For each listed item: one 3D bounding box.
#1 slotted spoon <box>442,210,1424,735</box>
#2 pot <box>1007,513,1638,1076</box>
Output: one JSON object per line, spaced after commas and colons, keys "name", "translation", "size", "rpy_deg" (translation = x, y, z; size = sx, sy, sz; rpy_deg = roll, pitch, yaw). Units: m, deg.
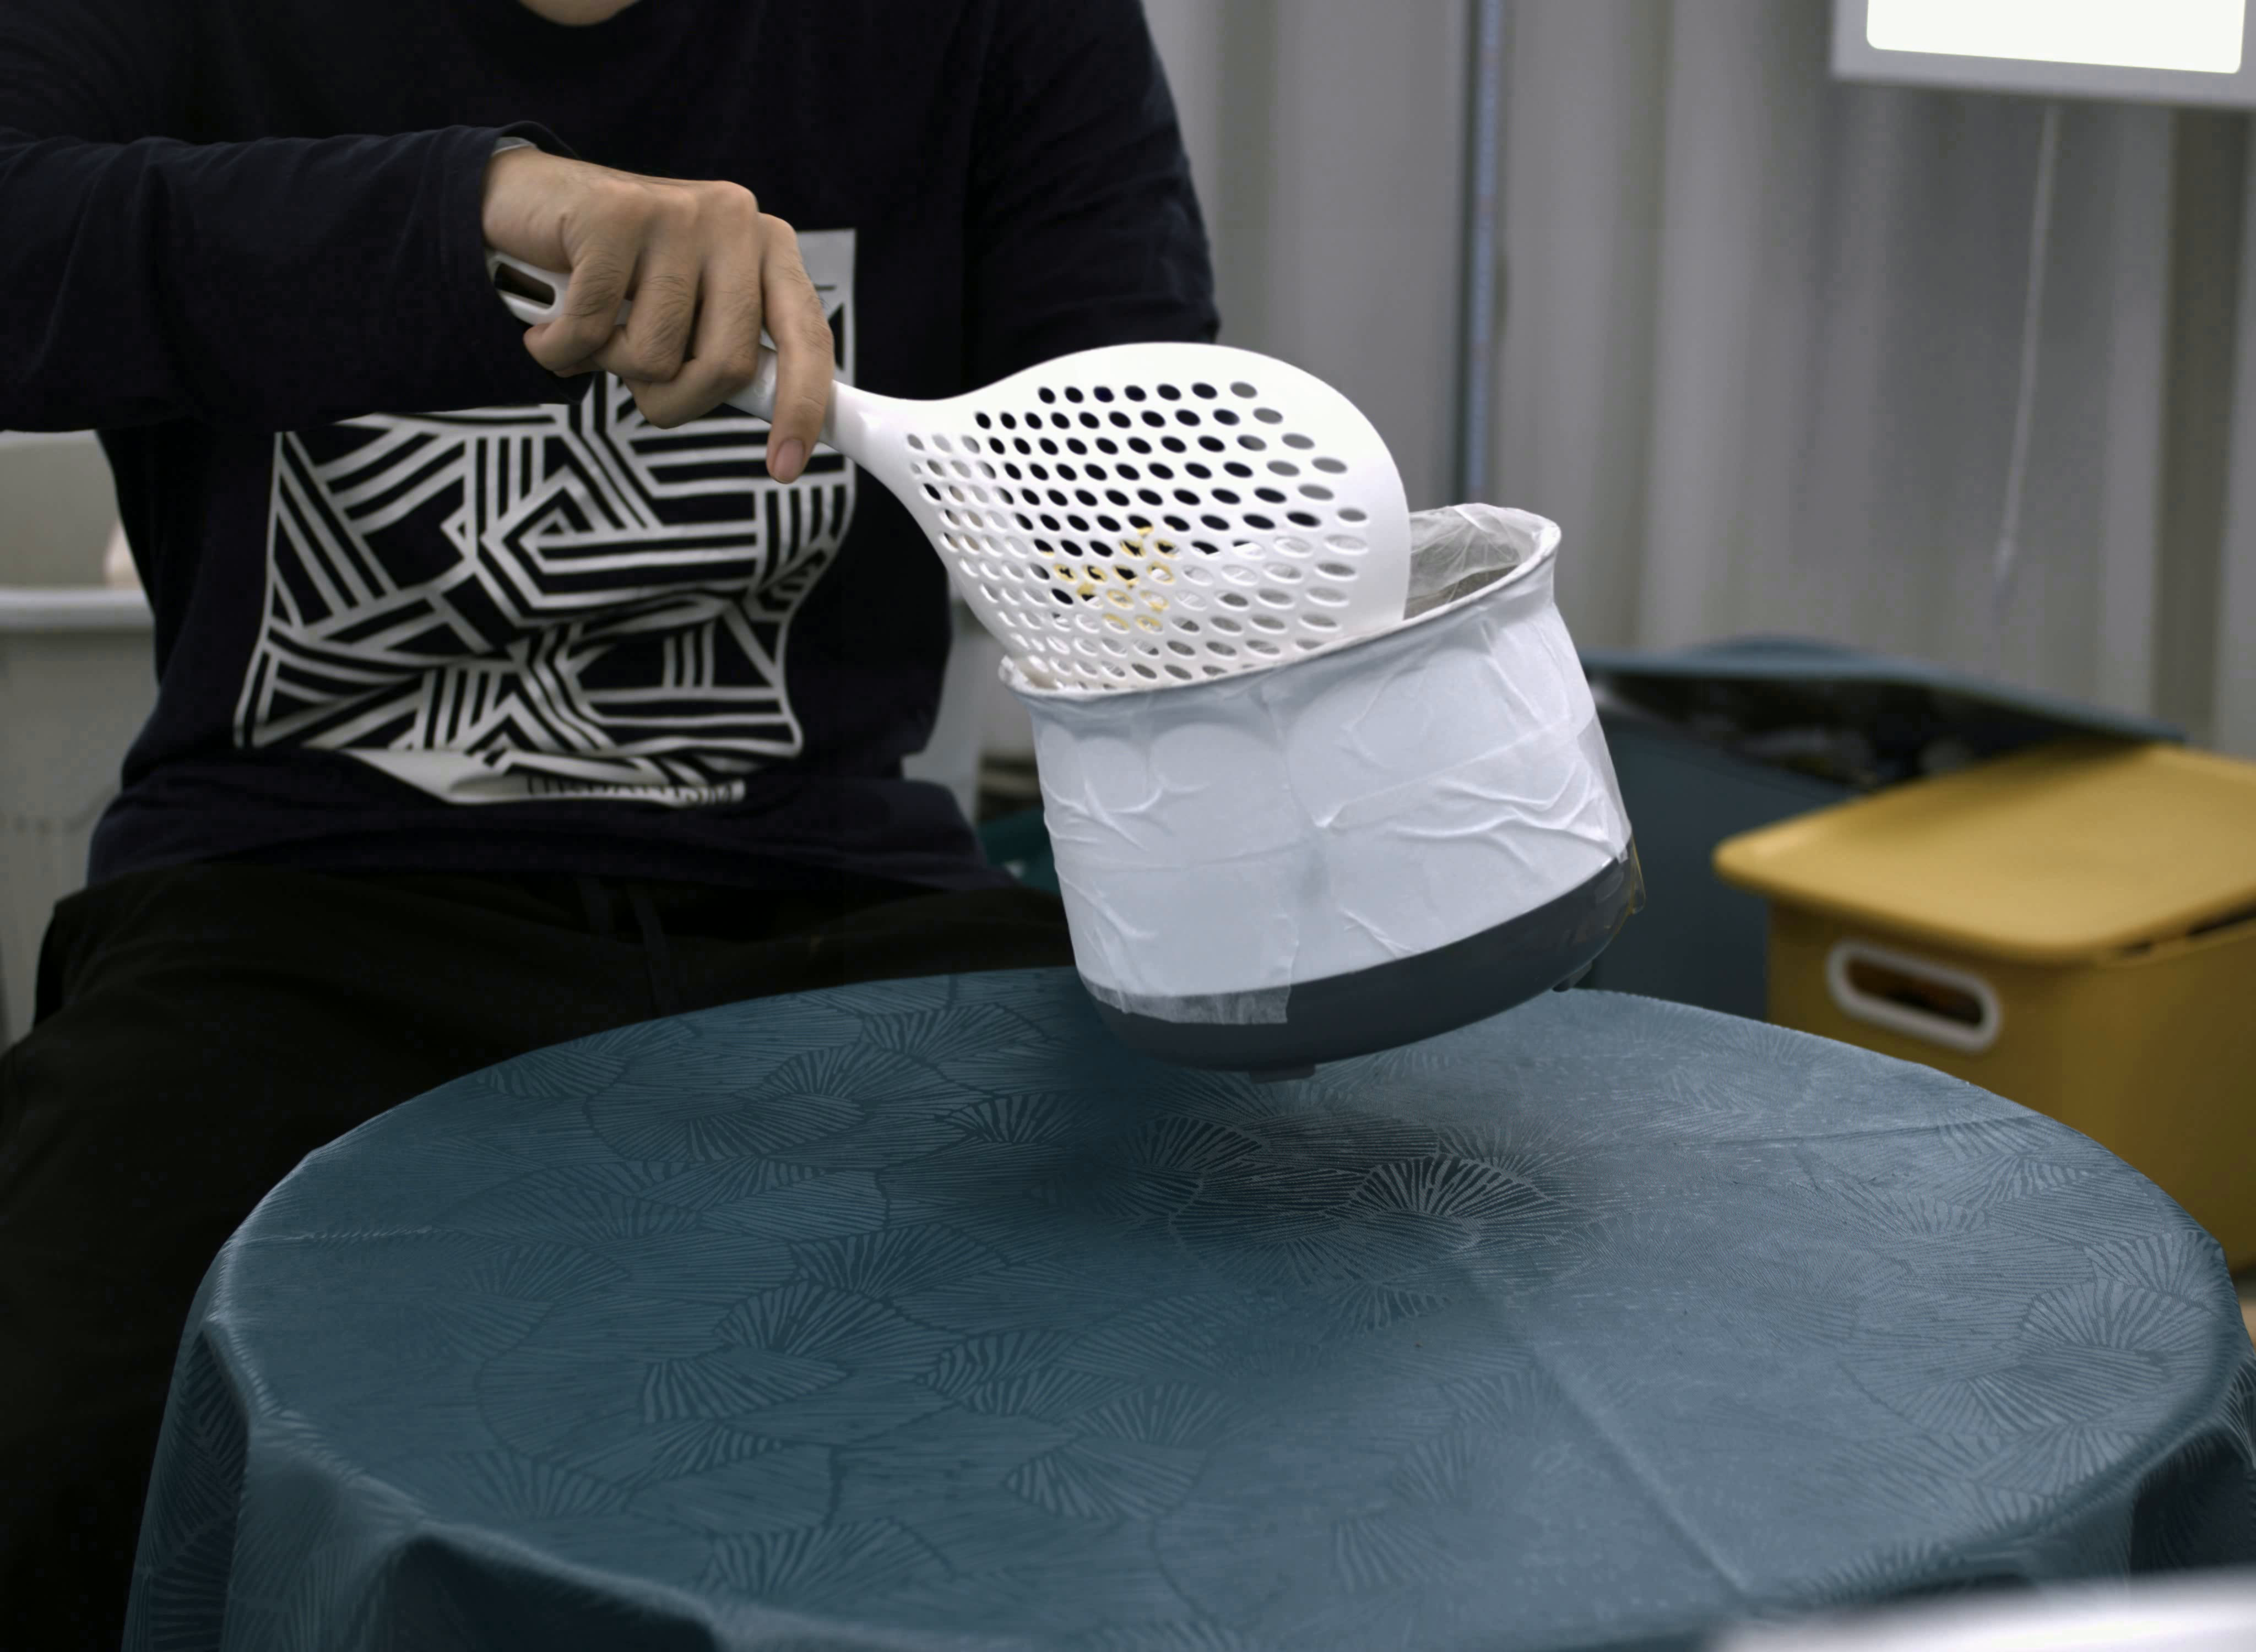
{"name": "slotted spoon", "translation": [-0.068, -0.118, 1.598], "size": [0.343, 0.138, 0.050], "rpy_deg": [26, 22, 28]}
{"name": "pot", "translation": [0.053, -0.015, 1.644], "size": [0.179, 0.138, 0.231], "rpy_deg": [-15, 14, -16]}
